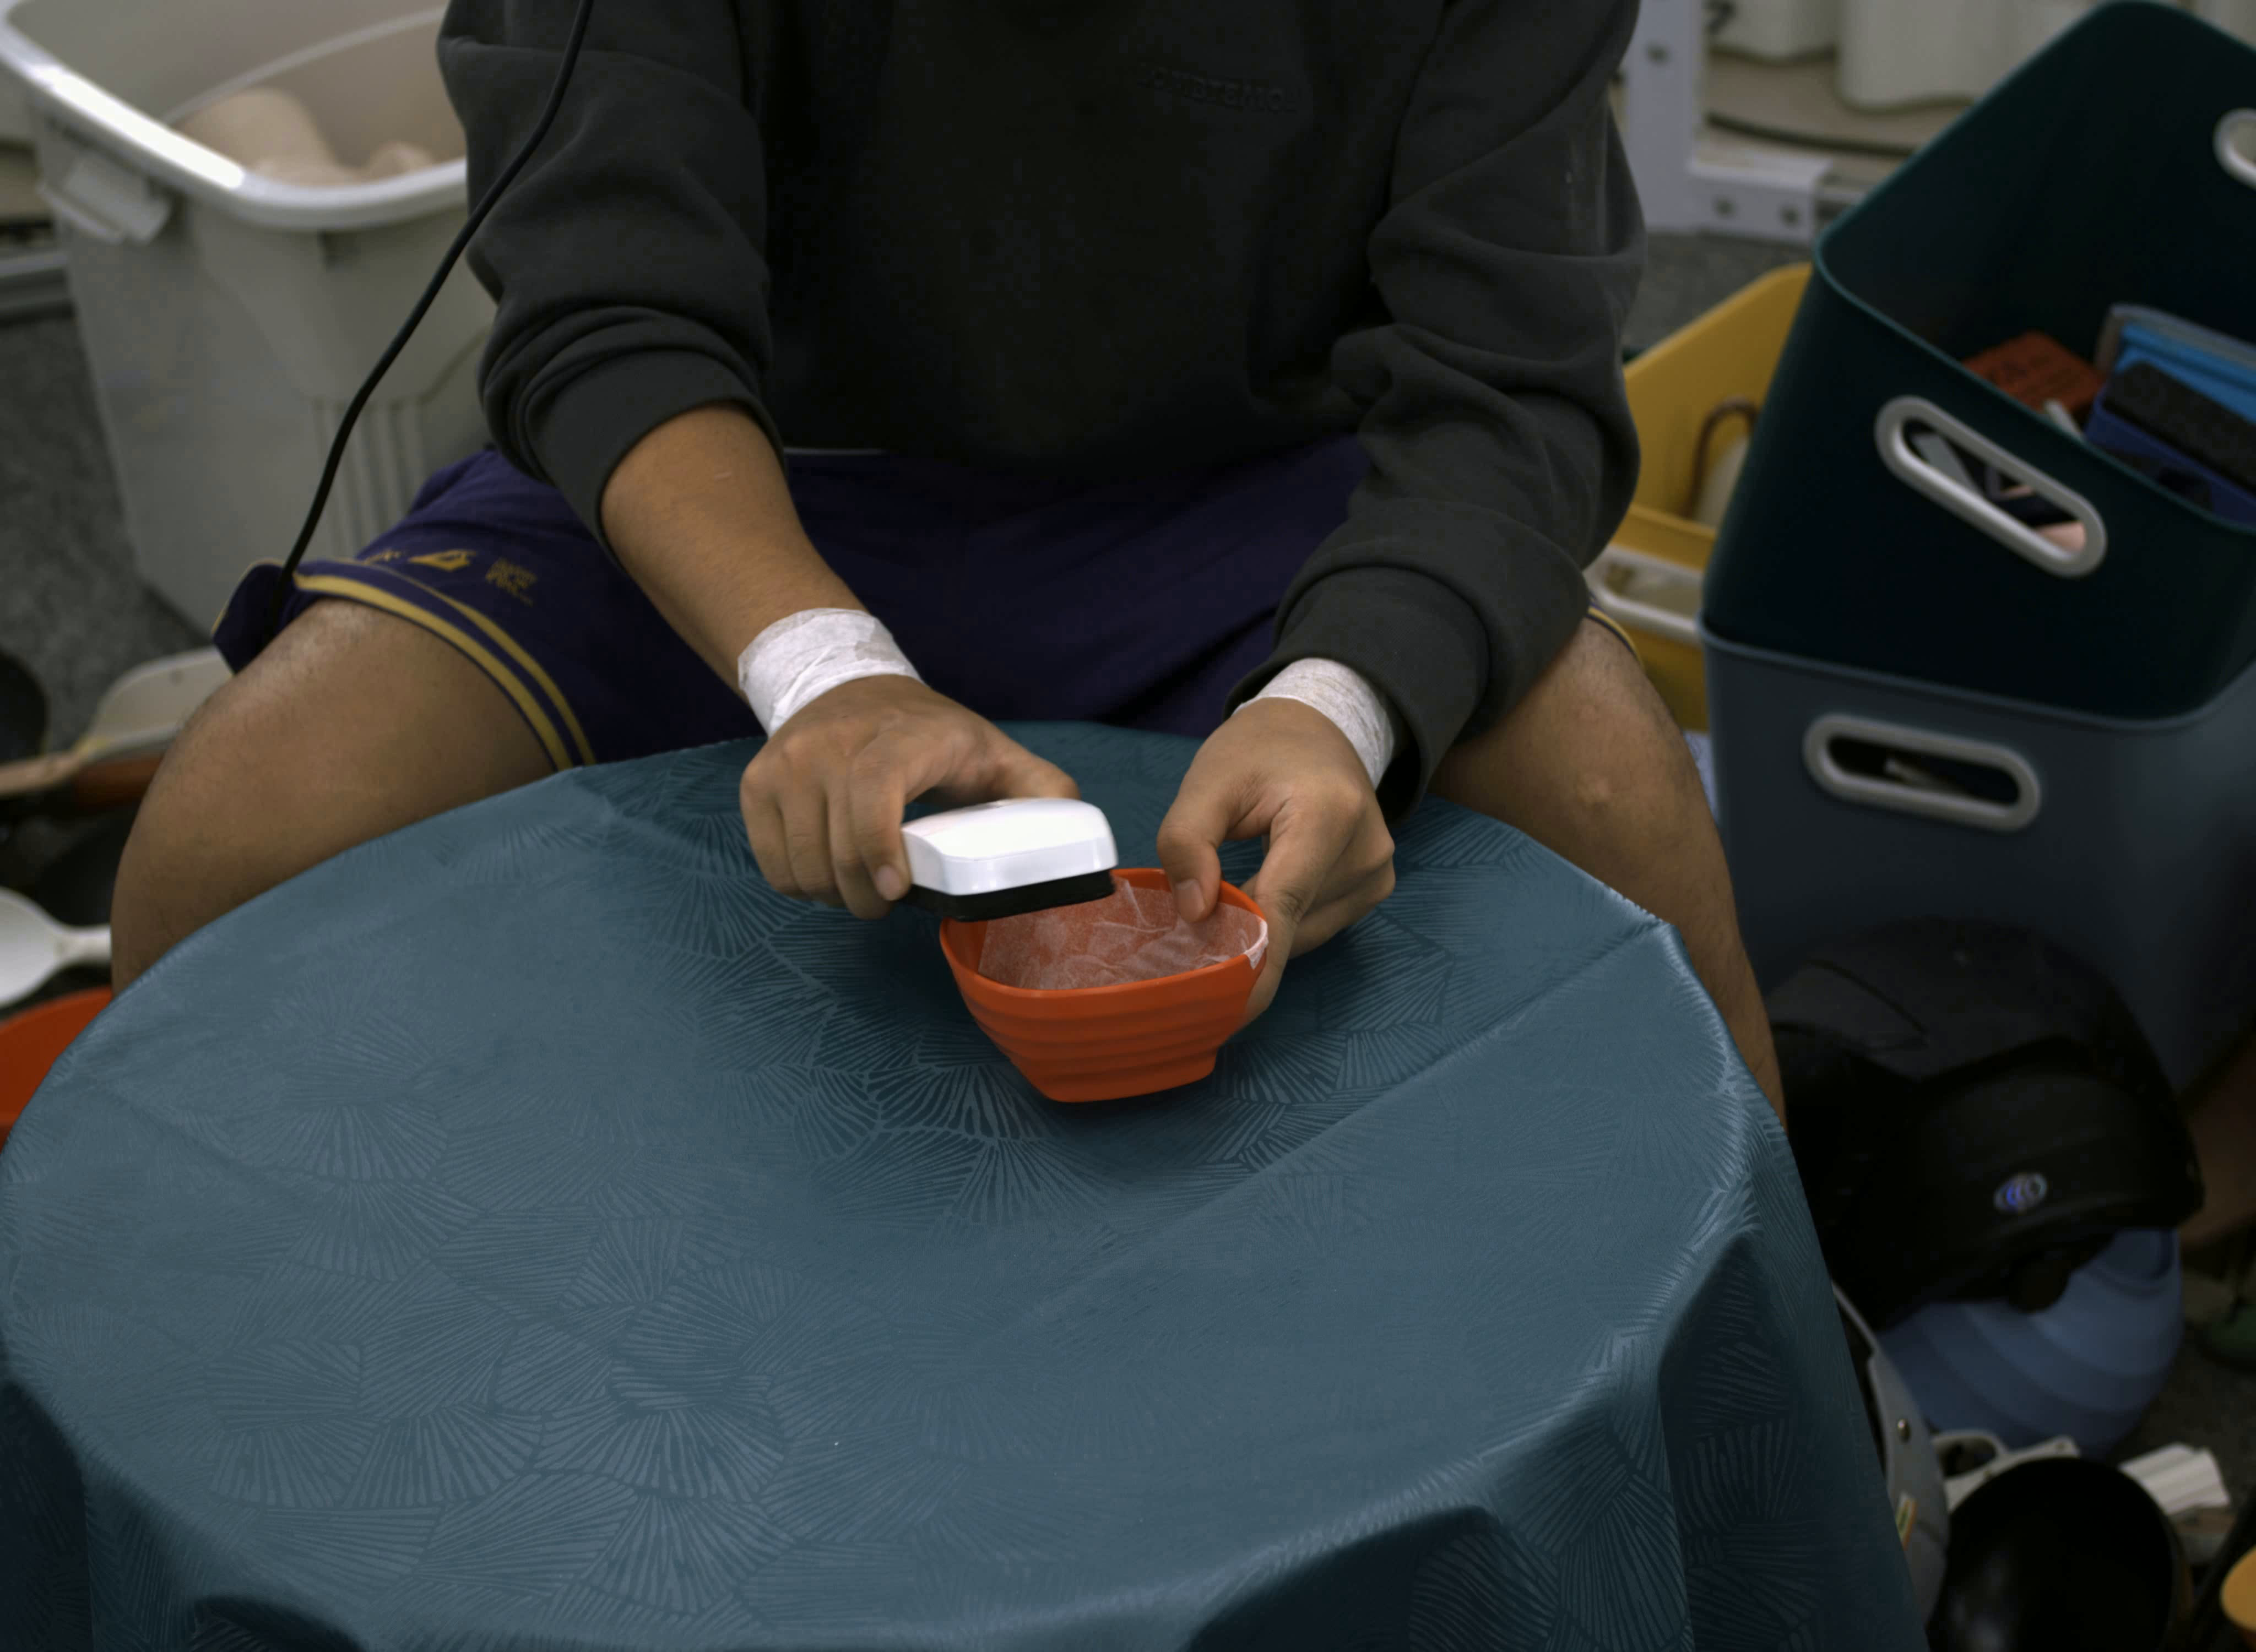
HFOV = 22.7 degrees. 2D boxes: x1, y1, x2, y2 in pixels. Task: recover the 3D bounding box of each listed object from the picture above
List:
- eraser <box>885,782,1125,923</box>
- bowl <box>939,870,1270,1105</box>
[{"bbox_3d":[-0.041,0.008,1.927,0.063,0.034,0.131,-9,7,-13],"label":"eraser"},{"bbox_3d":[-0.007,0.058,1.923,0.118,0.051,0.120,-4,19,2],"label":"bowl"}]
